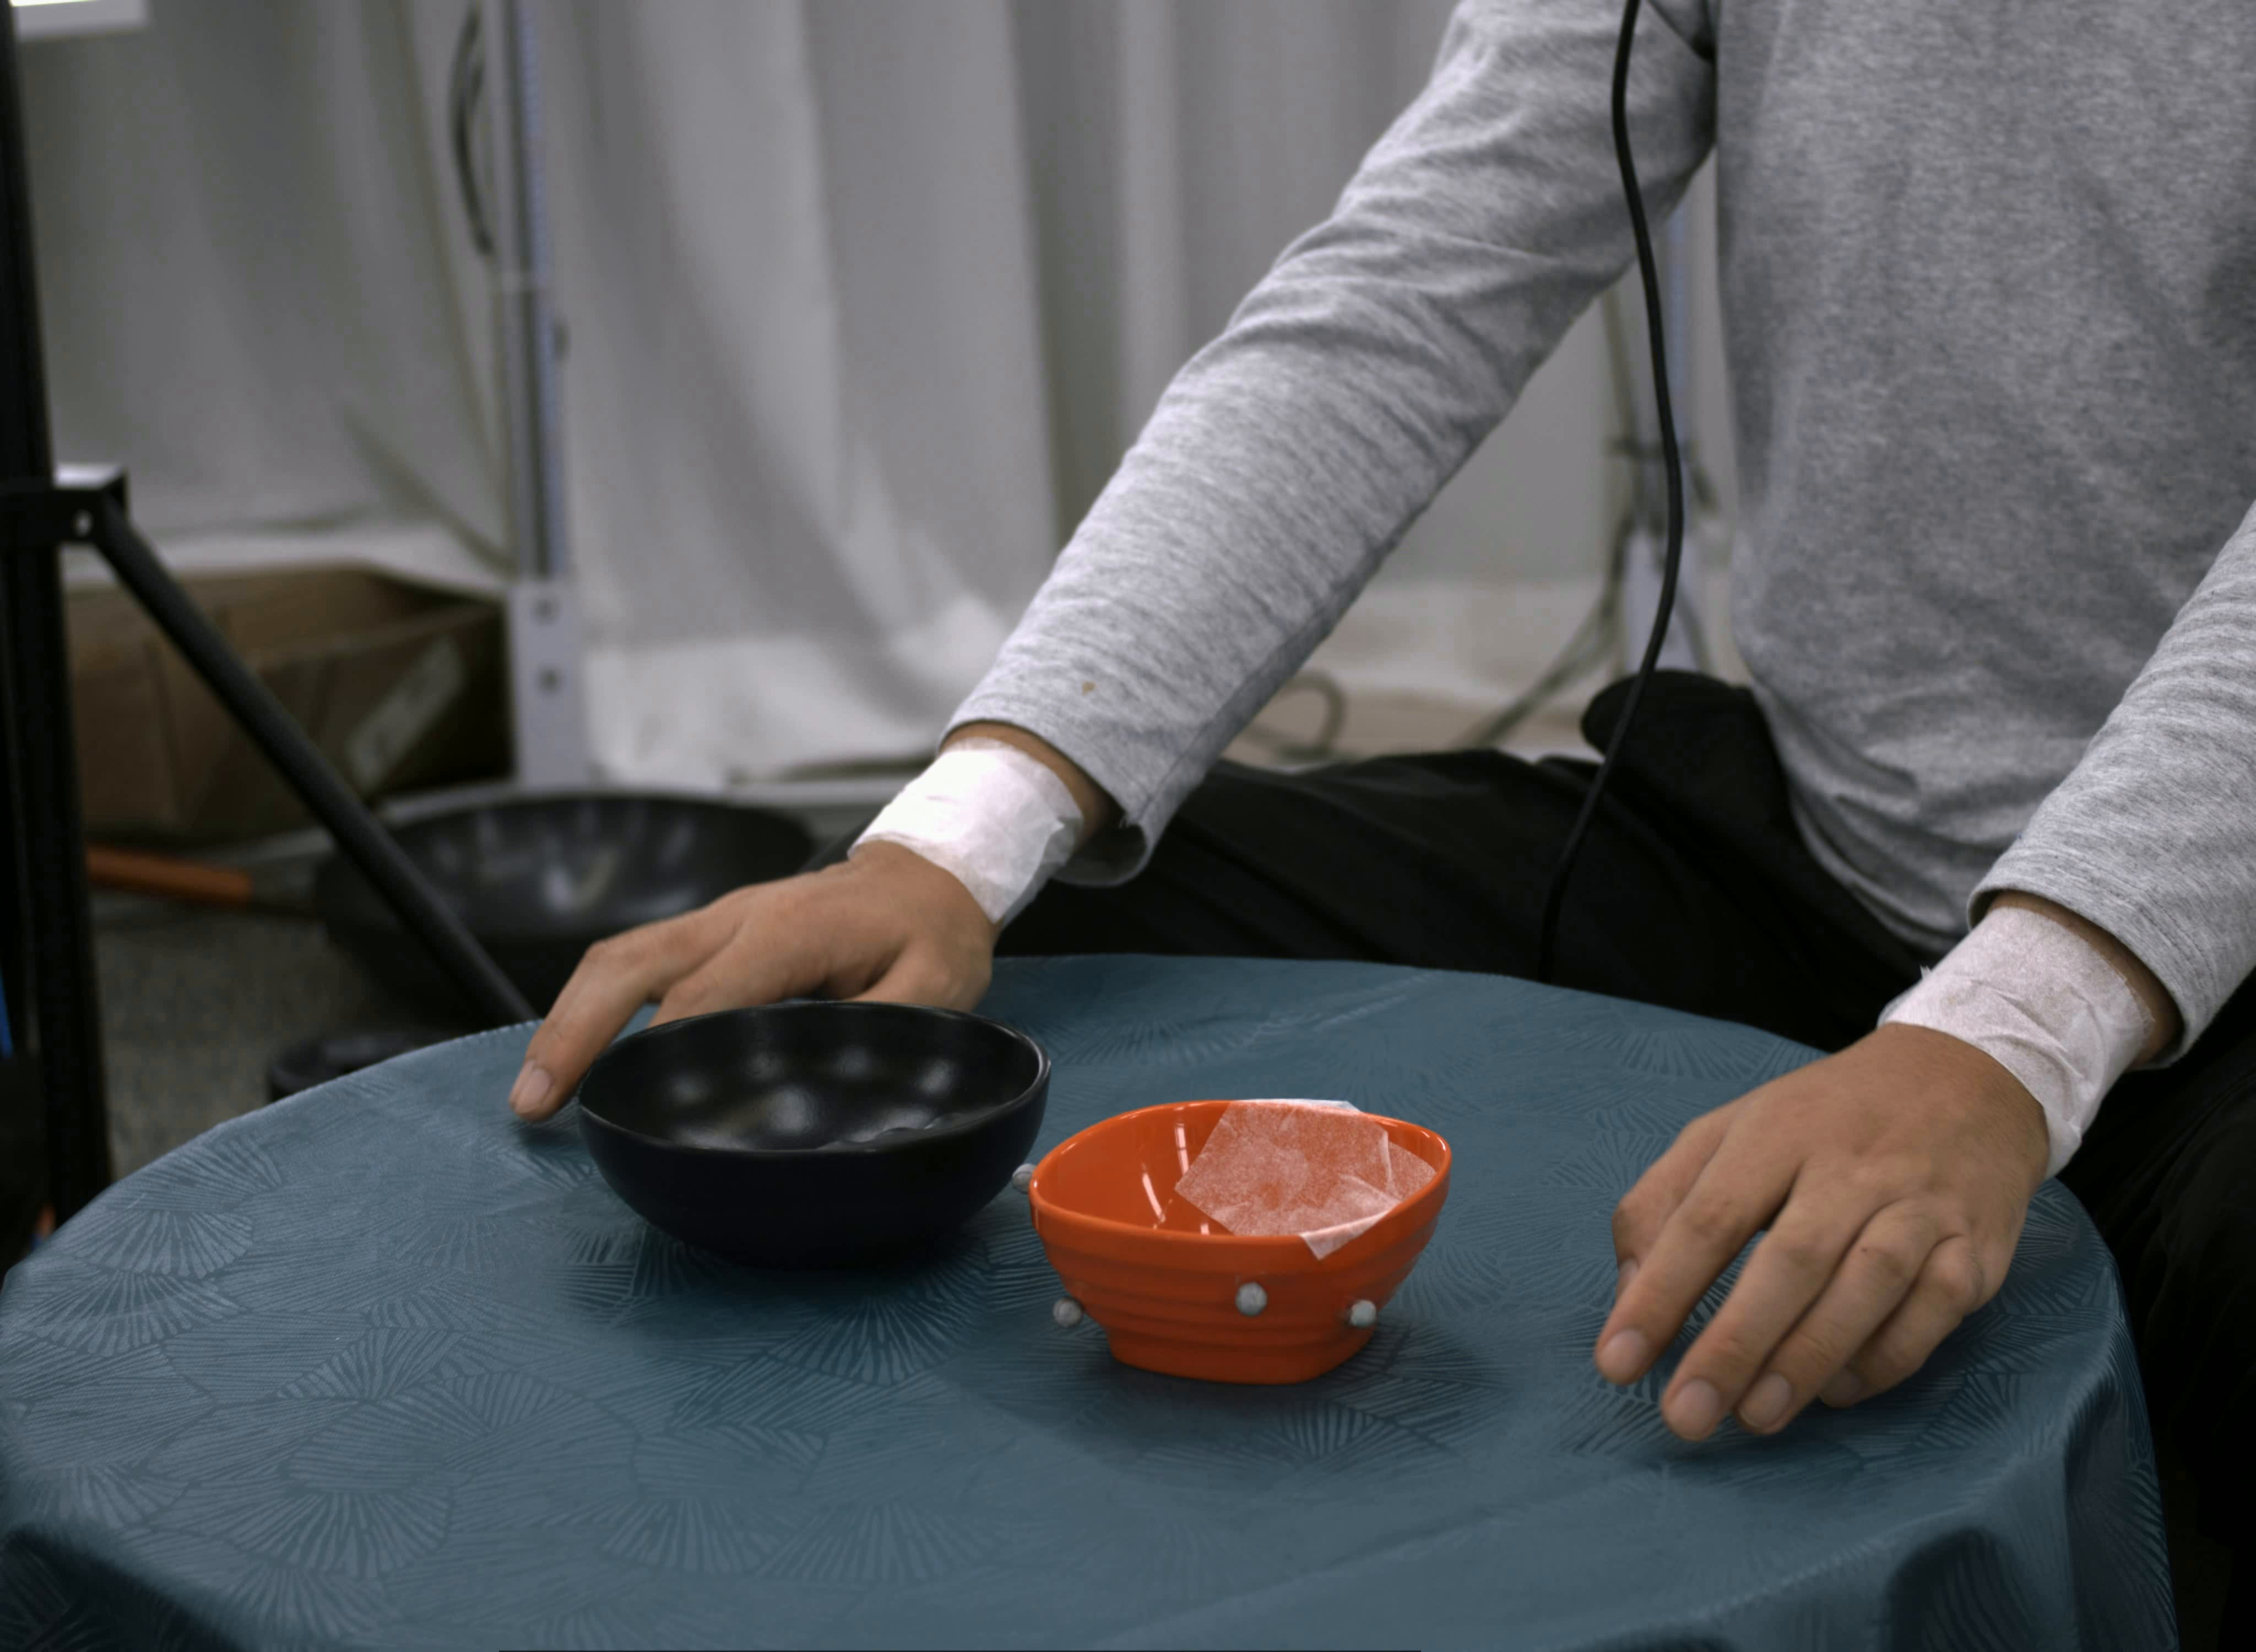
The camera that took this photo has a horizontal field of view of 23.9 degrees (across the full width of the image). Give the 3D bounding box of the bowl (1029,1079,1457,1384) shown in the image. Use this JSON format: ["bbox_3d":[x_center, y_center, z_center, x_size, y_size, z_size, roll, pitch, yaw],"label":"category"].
[{"bbox_3d":[0.033,0.113,1.434,0.118,0.051,0.119,-6,19,1],"label":"bowl"}]

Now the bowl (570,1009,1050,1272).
[{"bbox_3d":[-0.091,0.095,1.538,0.139,0.050,0.140,0,14,-1],"label":"bowl"}]
